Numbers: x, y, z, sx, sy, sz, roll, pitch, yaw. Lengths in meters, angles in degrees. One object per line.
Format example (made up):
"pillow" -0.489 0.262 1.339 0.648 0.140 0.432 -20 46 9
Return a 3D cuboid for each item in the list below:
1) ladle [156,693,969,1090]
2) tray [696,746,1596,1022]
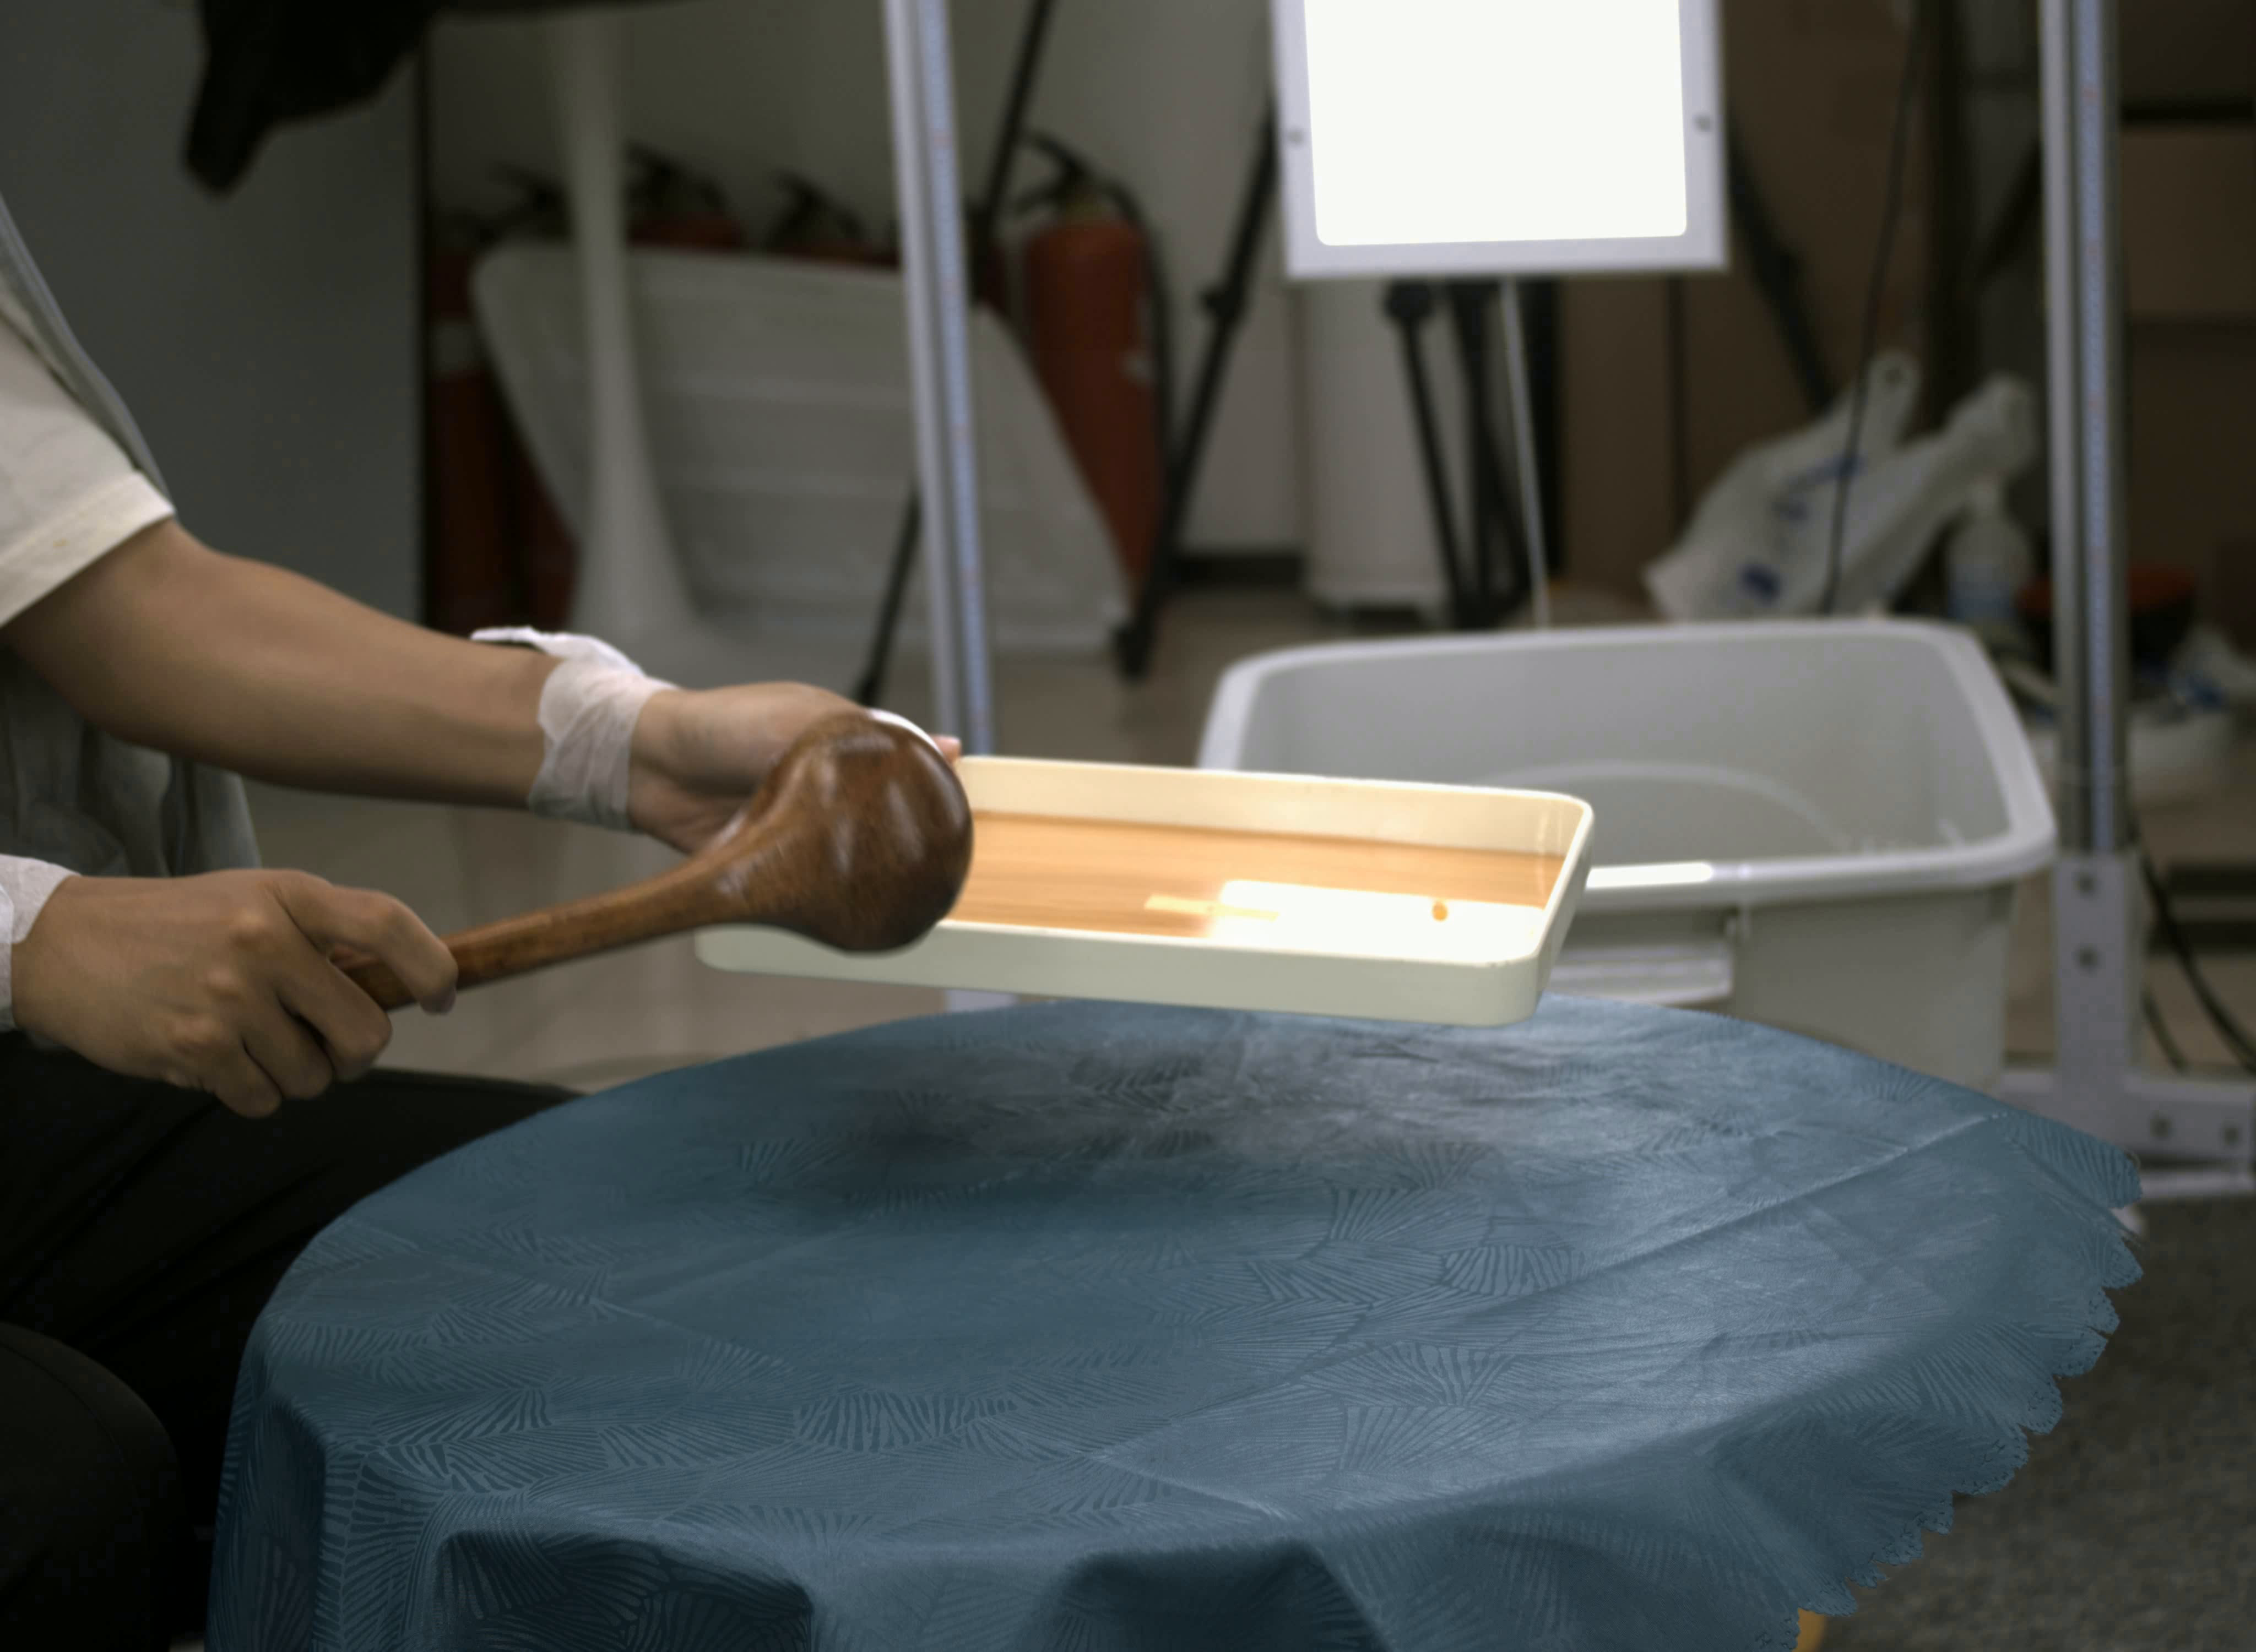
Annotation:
"ladle" -0.185 0.029 1.817 0.276 0.082 0.076 -18 1 12
"tray" 0.010 0.018 1.976 0.303 0.027 0.189 4 19 13
